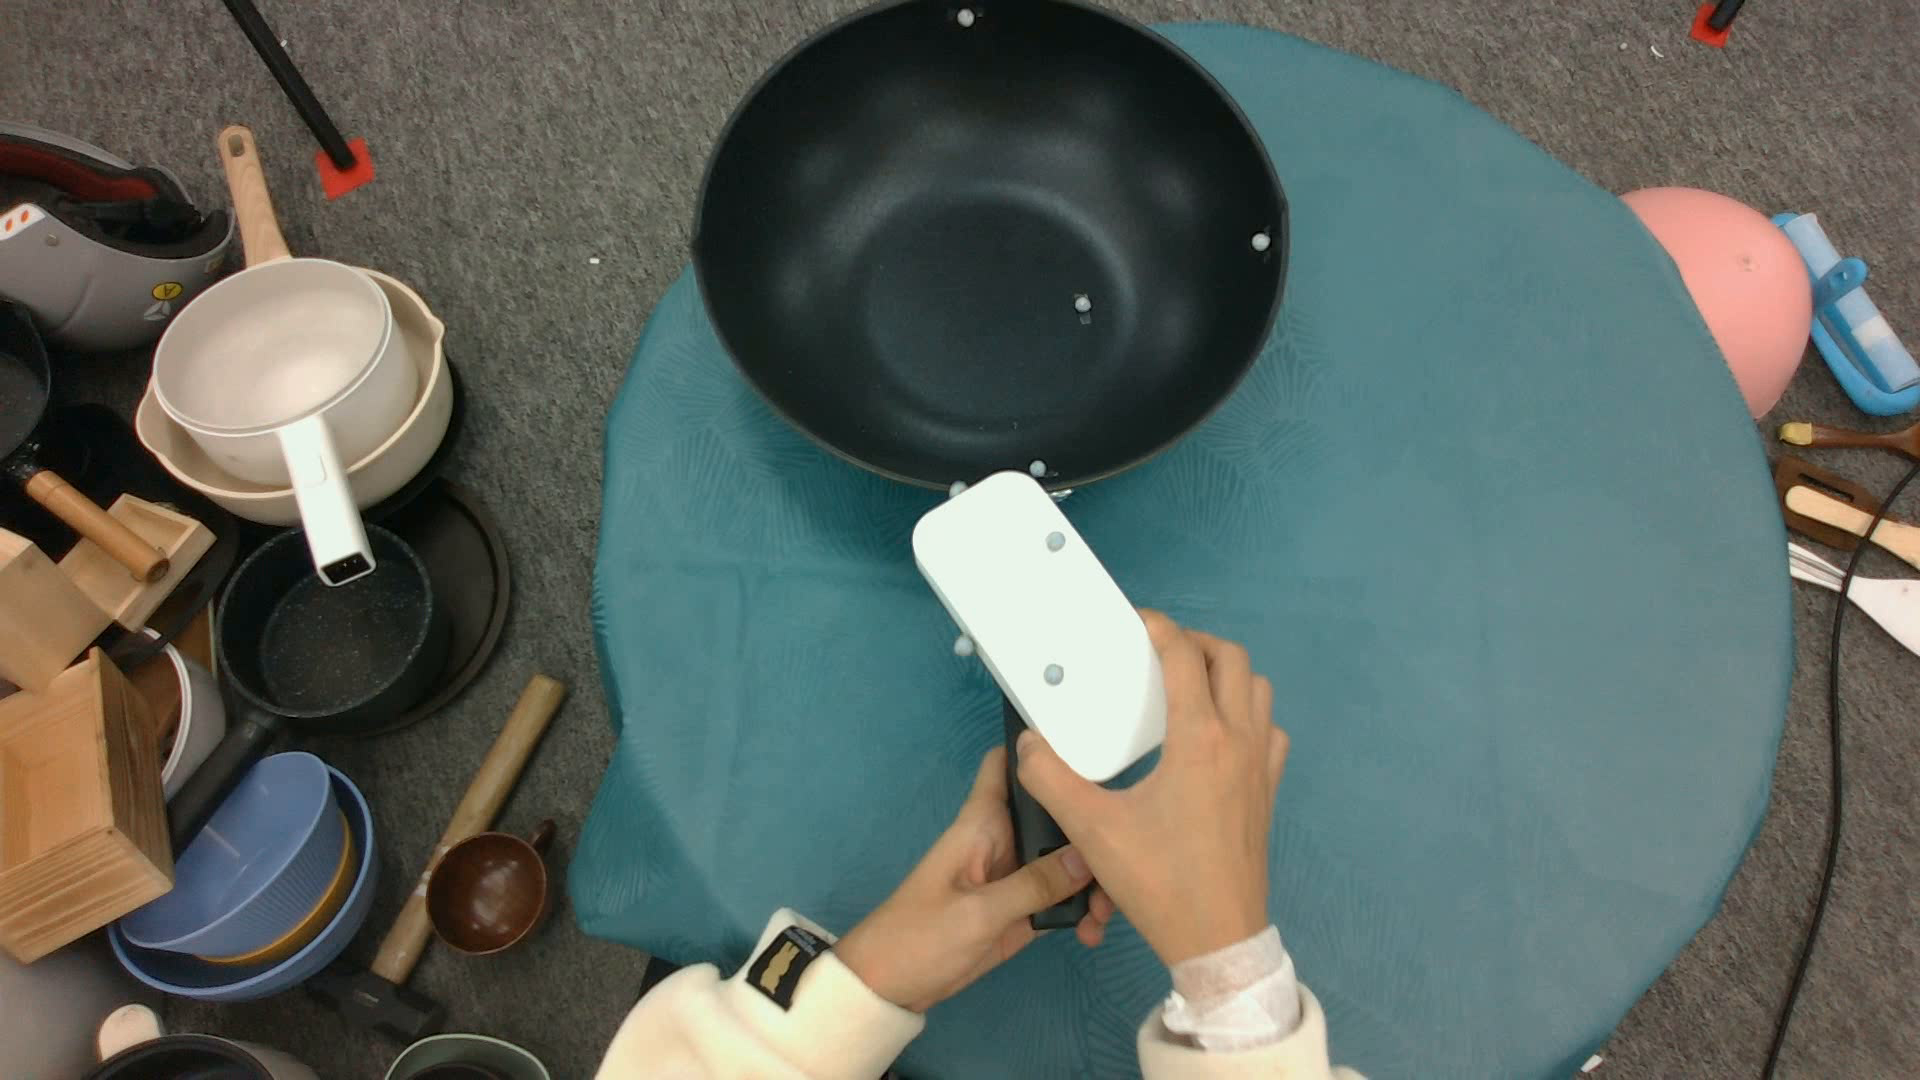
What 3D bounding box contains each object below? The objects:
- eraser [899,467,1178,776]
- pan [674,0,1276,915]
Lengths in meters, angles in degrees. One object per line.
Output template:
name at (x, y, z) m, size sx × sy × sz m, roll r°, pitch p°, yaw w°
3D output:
eraser at (0.029, 0.033, 0.565) m, size 0.063 × 0.034 × 0.131 m, roll -31°, pitch 73°, yaw -16°
pan at (0.014, -0.058, 0.661) m, size 0.288 × 0.086 × 0.464 m, roll -4°, pitch 71°, yaw -3°
